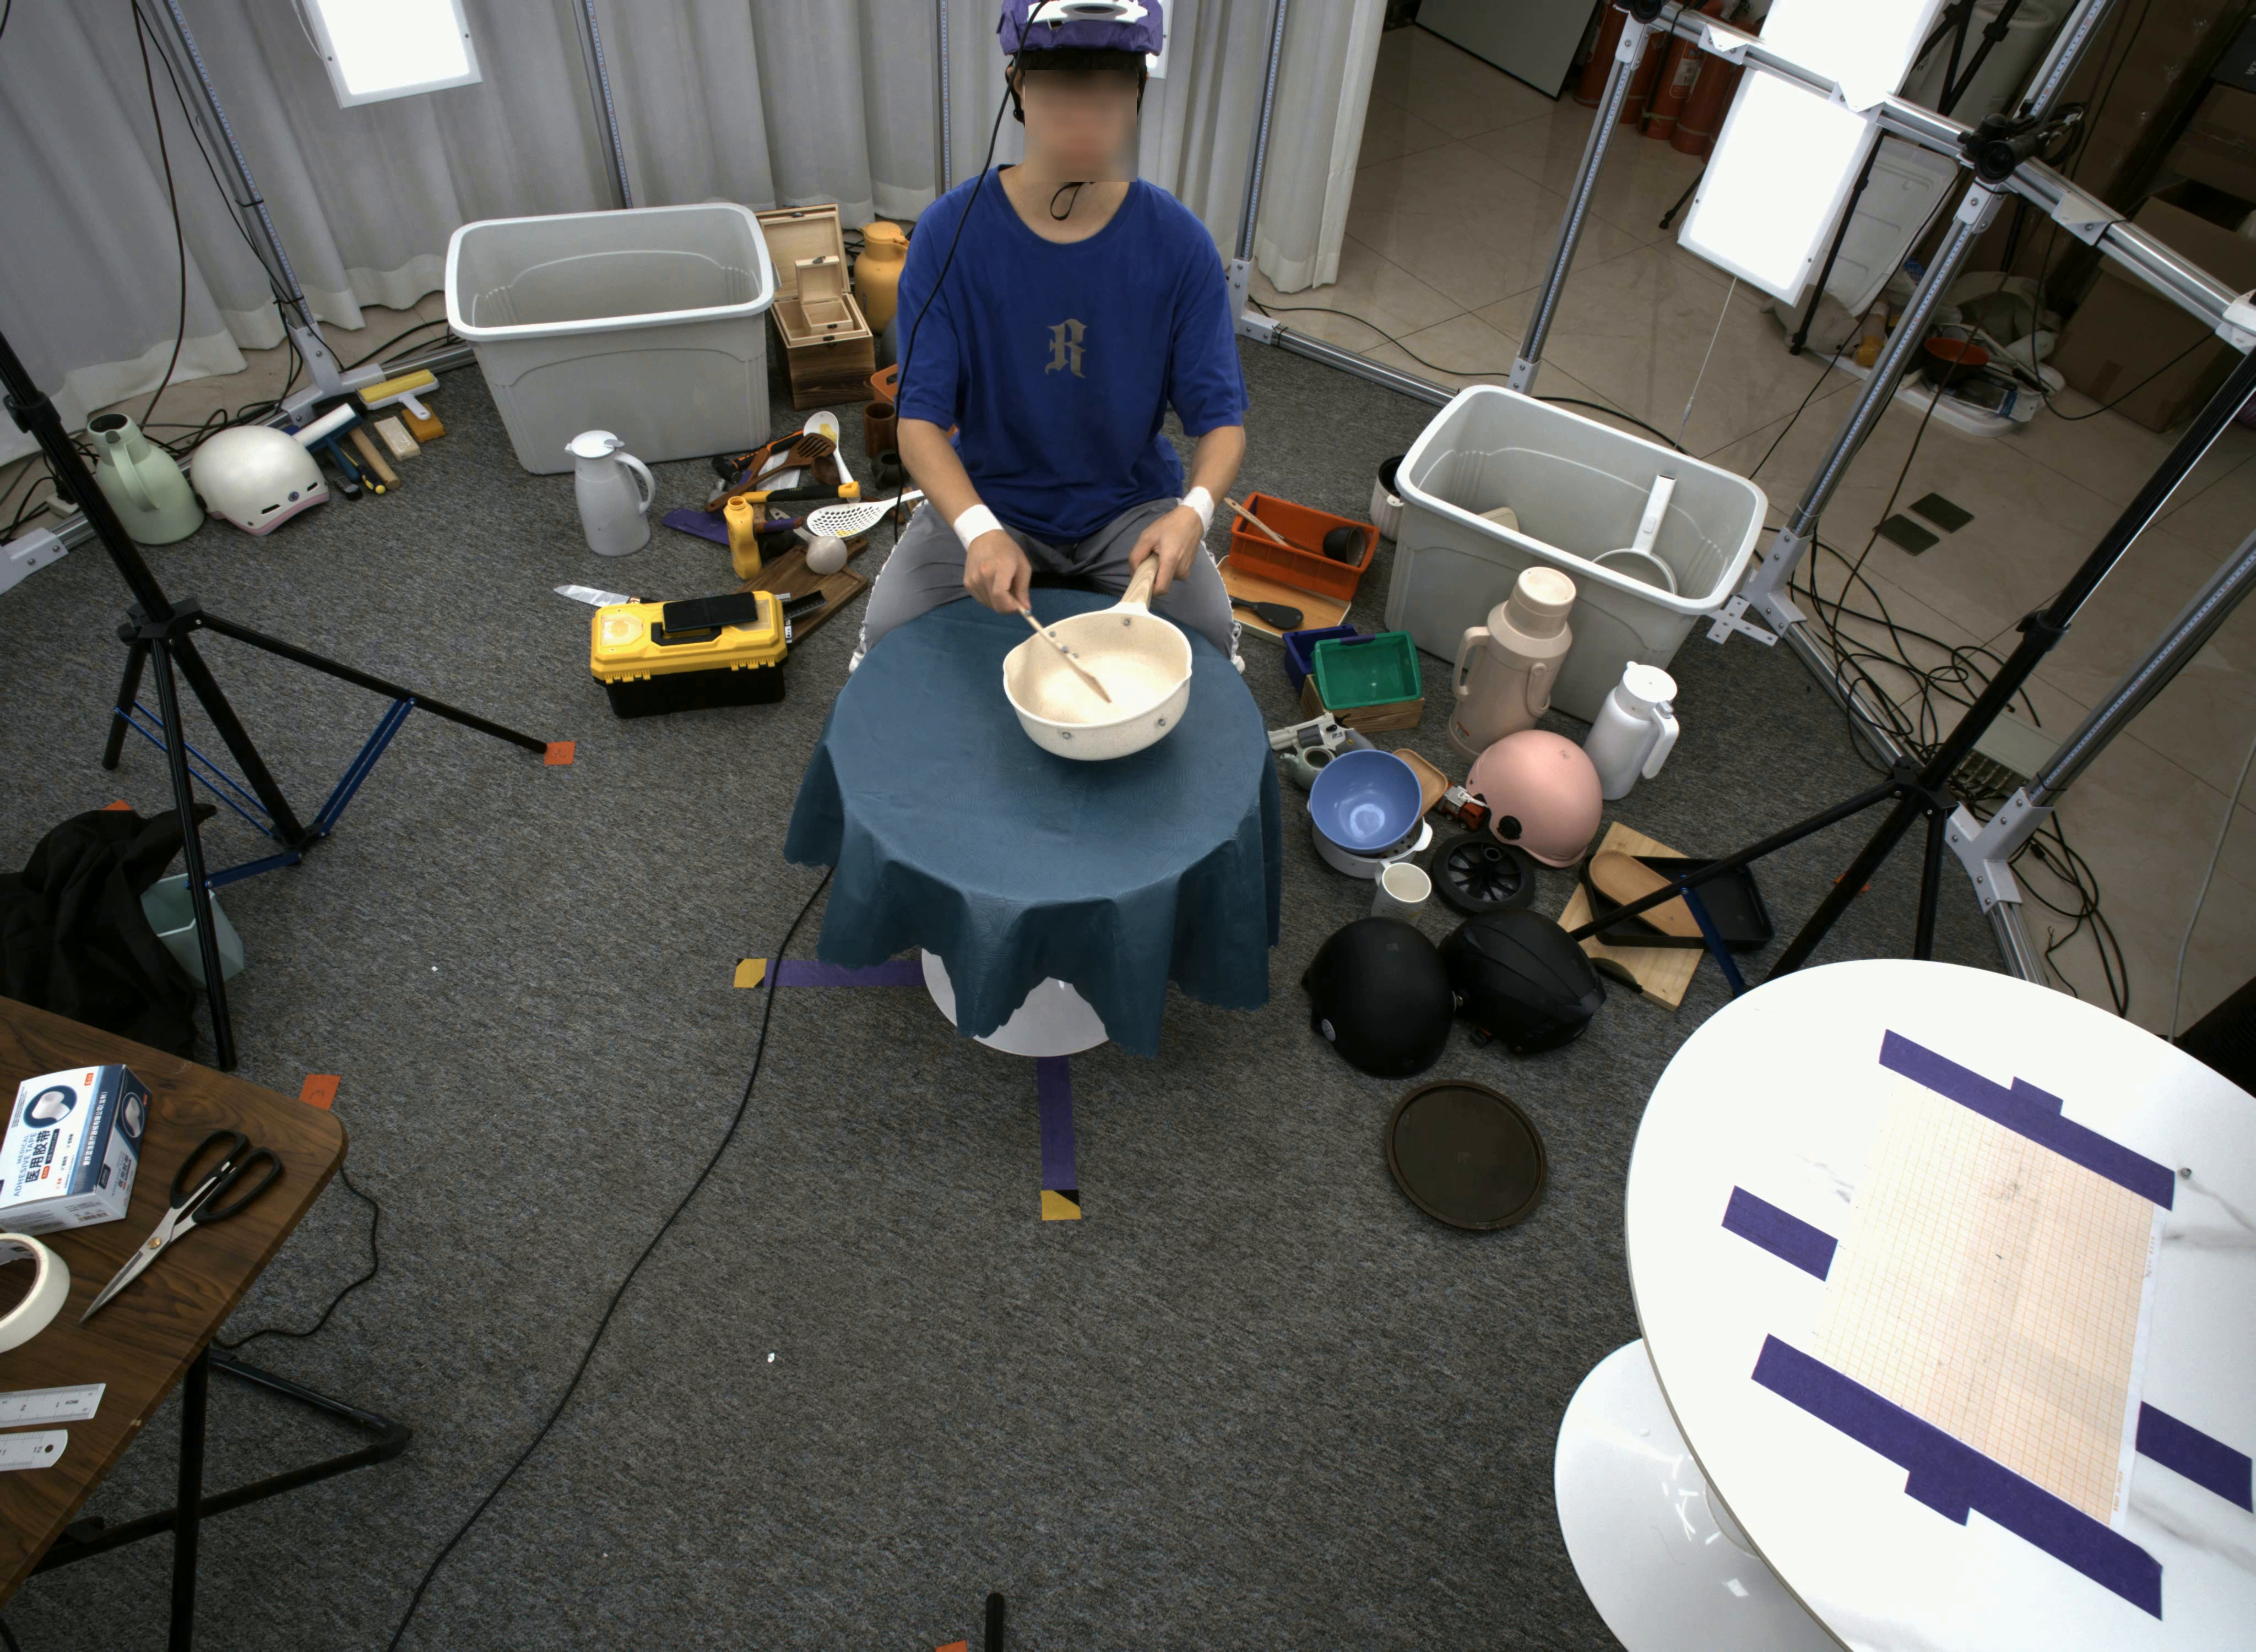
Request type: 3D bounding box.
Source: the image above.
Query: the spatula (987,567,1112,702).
[{"bbox_3d":[-0.114,-0.268,1.744,0.010,0.071,0.299,-41,56,0],"label":"spatula"}]

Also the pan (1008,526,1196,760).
[{"bbox_3d":[-0.002,-0.254,1.780,0.264,0.099,0.444,5,45,20],"label":"pan"}]
